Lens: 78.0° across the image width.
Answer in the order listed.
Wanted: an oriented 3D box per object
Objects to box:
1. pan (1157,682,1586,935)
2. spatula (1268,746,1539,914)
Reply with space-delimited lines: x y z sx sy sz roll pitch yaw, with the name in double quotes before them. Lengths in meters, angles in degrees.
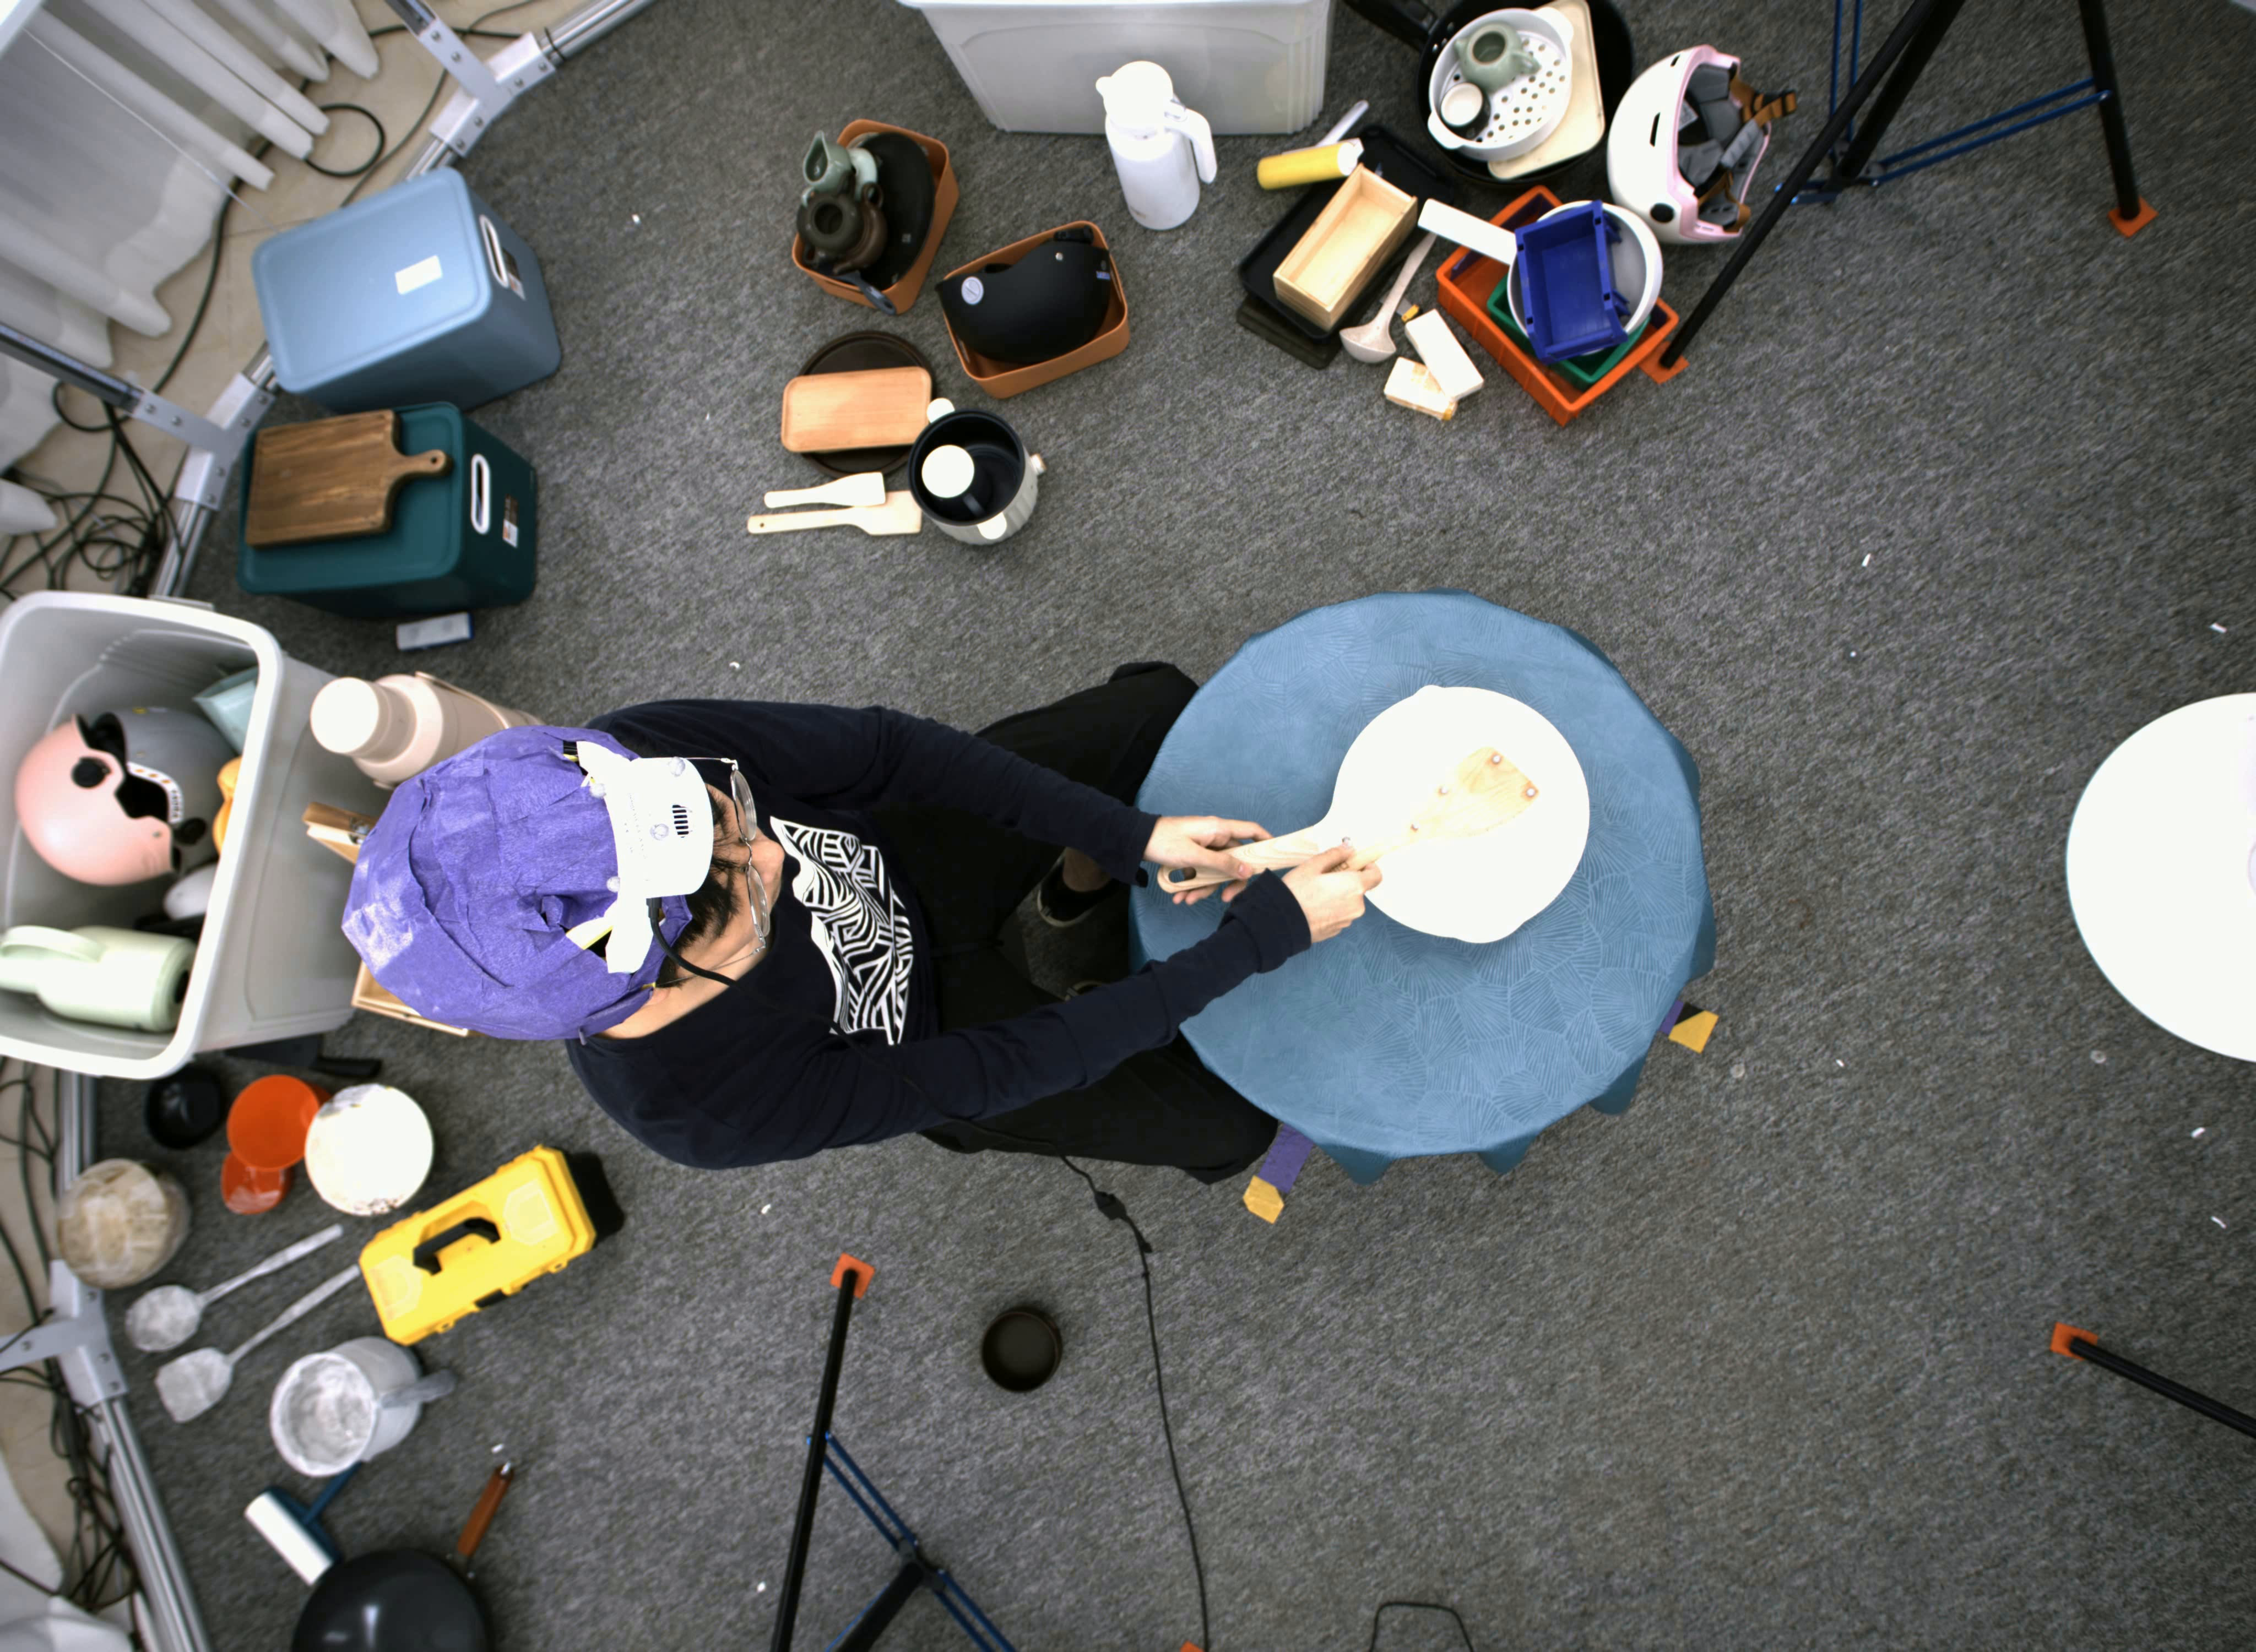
"pan" 0.245 0.005 1.419 0.437 0.102 0.262 -15 84 10
"spatula" 0.271 0.007 1.372 0.324 0.017 0.079 -26 73 -21
